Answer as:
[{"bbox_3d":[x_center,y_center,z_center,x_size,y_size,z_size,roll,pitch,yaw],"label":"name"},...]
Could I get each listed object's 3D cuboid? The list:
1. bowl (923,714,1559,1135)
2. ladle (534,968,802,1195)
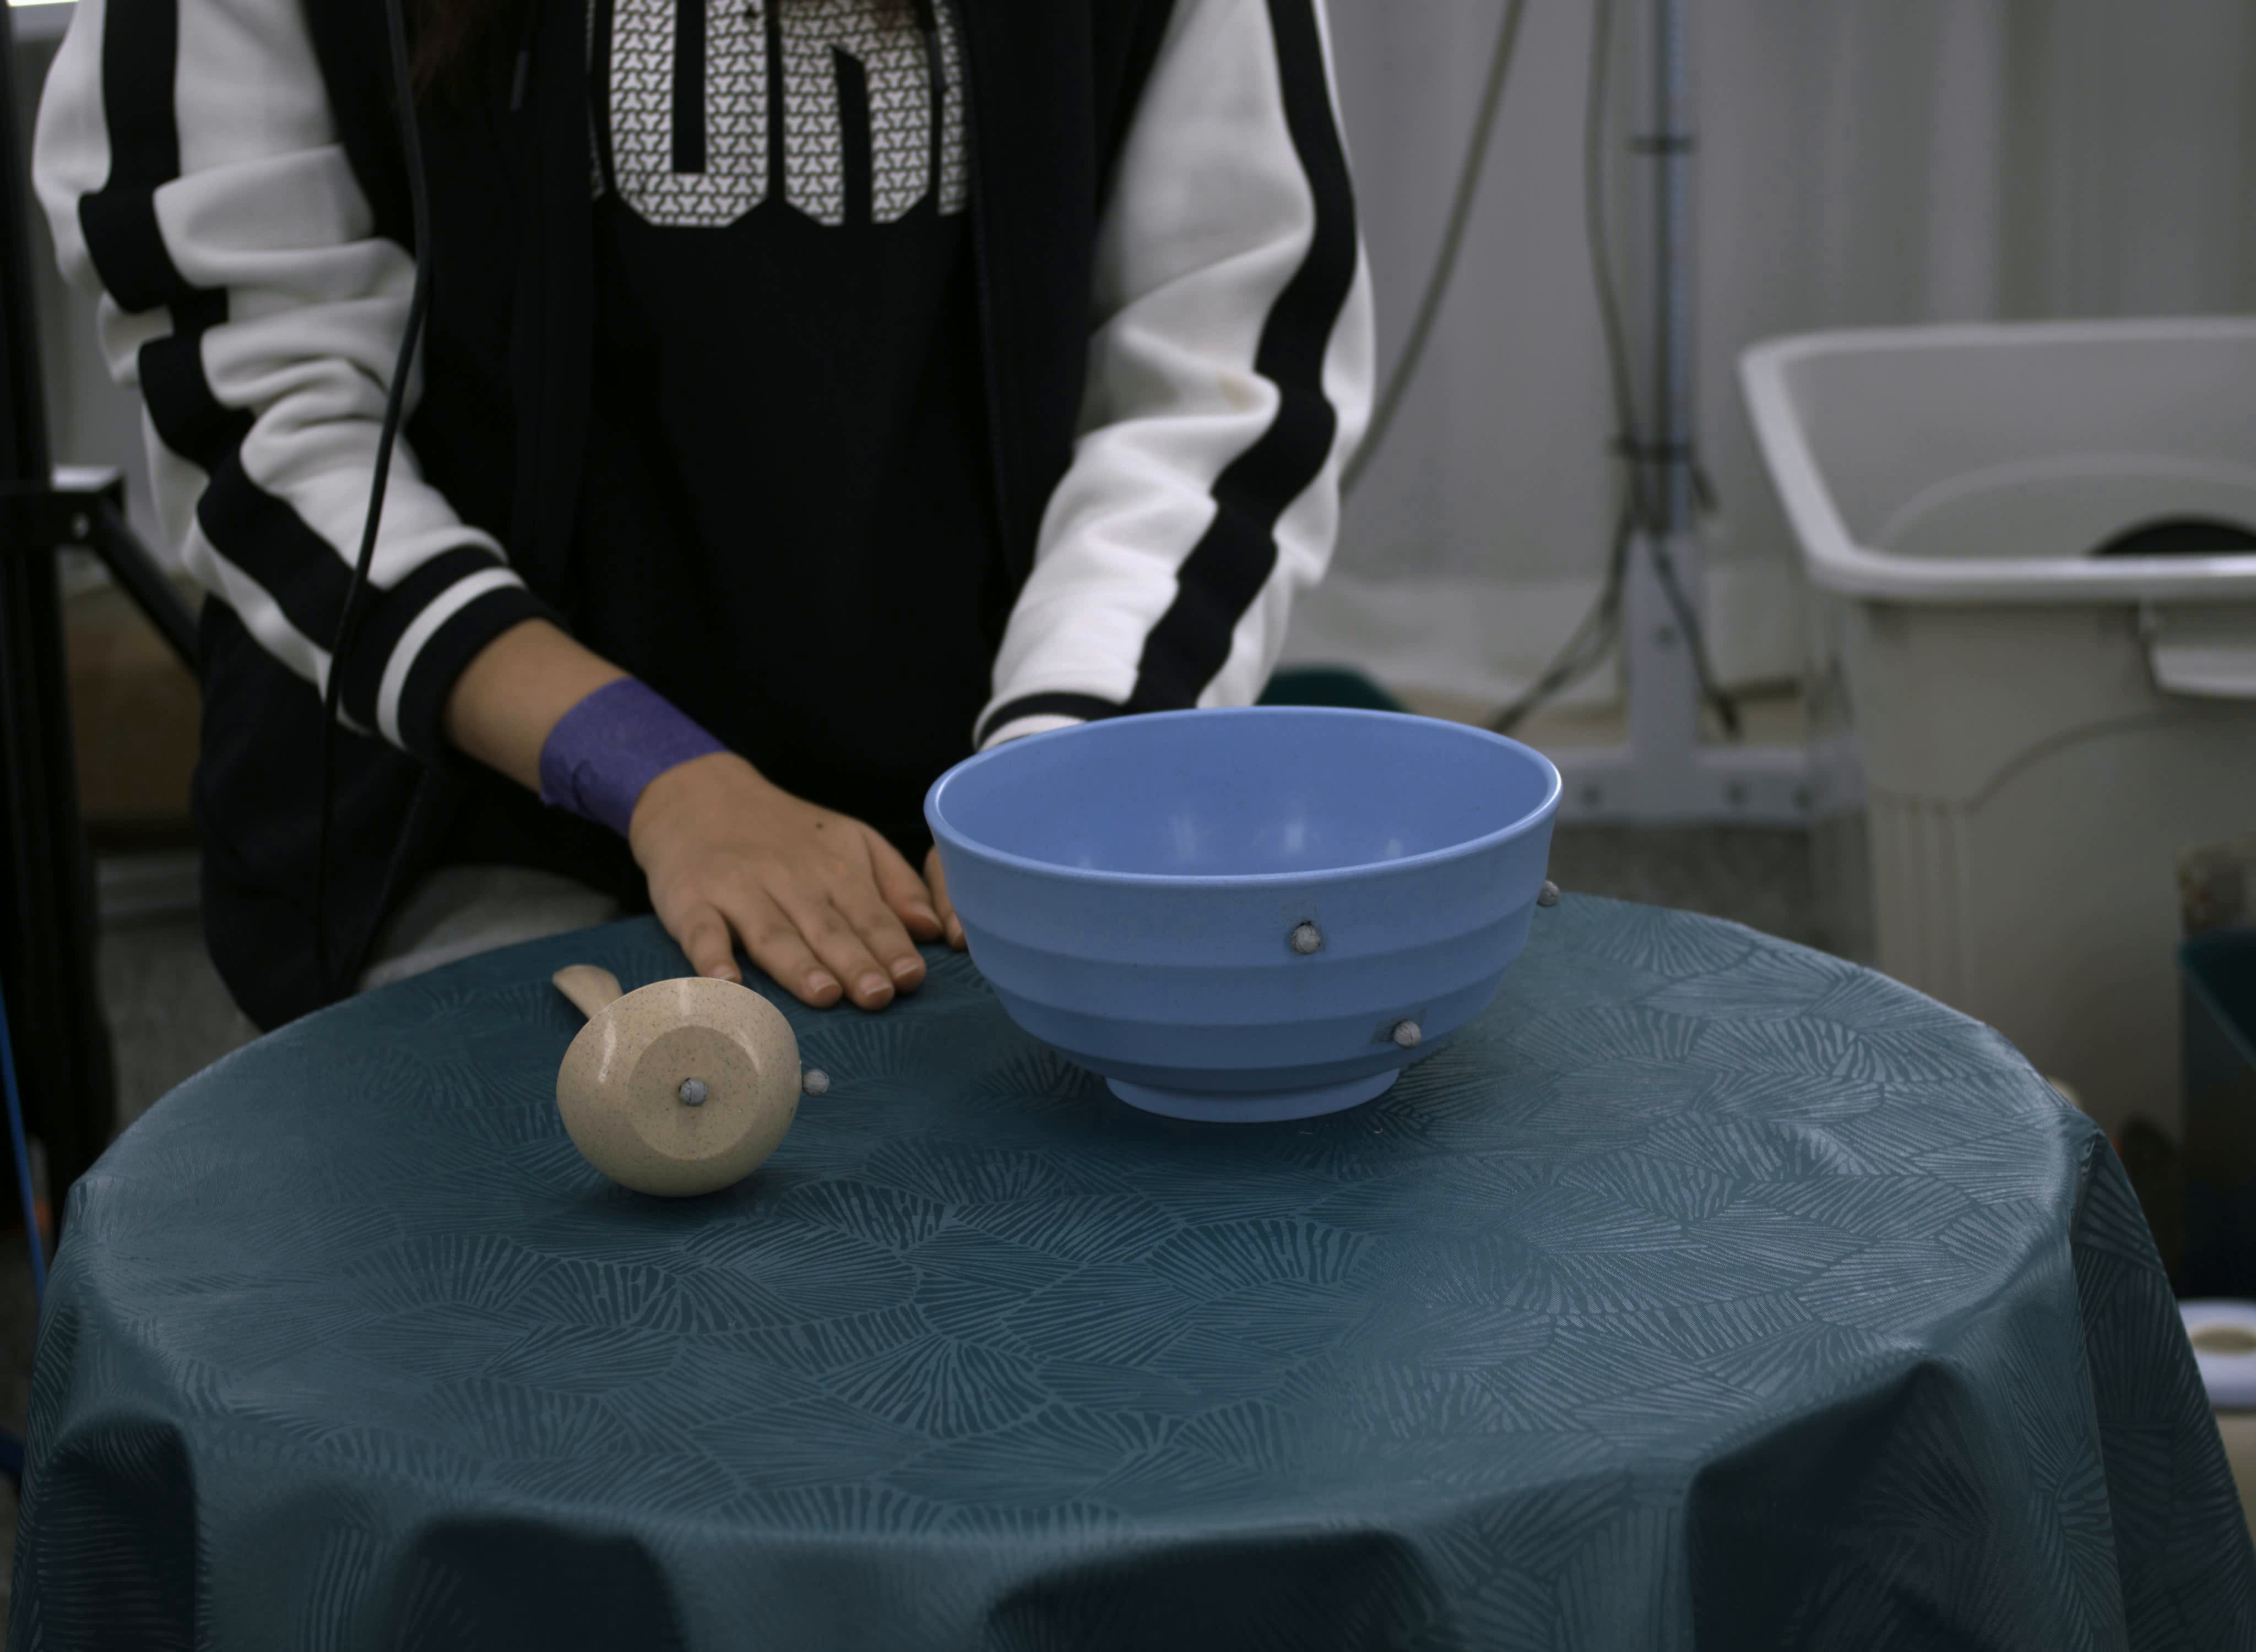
[{"bbox_3d":[0.037,0.036,1.644,0.195,0.095,0.197,-4,15,0],"label":"bowl"},{"bbox_3d":[-0.157,0.049,1.659,0.071,0.073,0.258,-5,16,-15],"label":"ladle"}]
